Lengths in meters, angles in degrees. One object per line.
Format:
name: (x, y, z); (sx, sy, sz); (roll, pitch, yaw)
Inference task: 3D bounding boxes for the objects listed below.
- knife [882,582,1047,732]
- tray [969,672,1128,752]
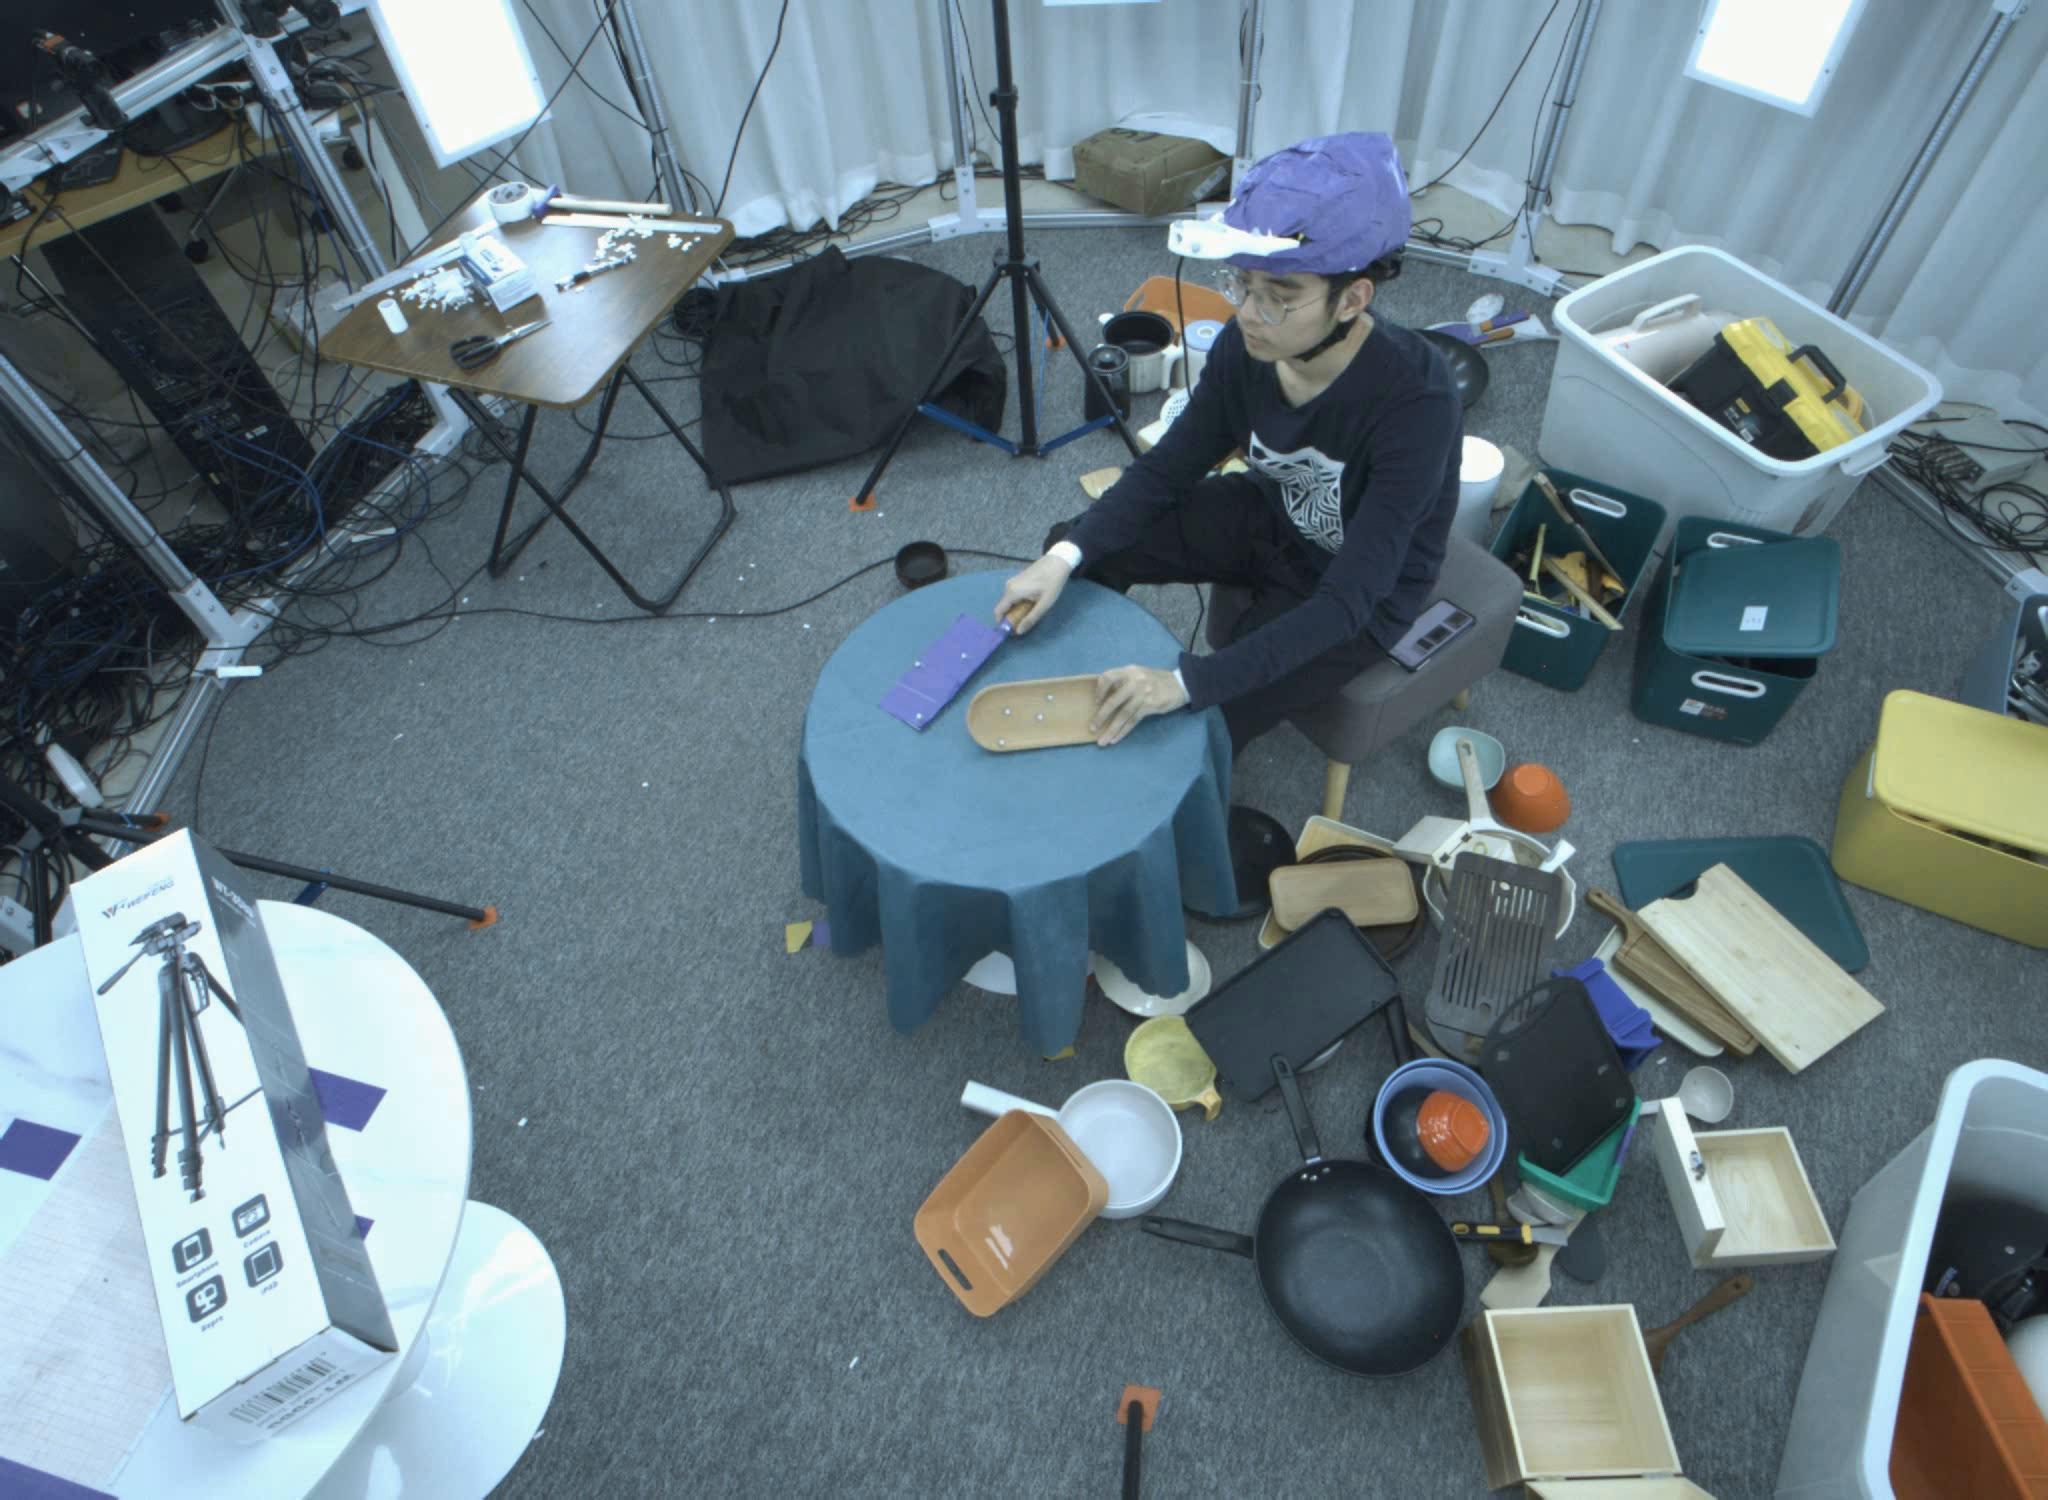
knife: (-0.093, -0.159, 1.882); (0.102, 0.032, 0.316); (31, 64, 23)
tray: (0.036, -0.056, 1.780); (0.232, 0.102, 0.020); (-8, 22, -5)
